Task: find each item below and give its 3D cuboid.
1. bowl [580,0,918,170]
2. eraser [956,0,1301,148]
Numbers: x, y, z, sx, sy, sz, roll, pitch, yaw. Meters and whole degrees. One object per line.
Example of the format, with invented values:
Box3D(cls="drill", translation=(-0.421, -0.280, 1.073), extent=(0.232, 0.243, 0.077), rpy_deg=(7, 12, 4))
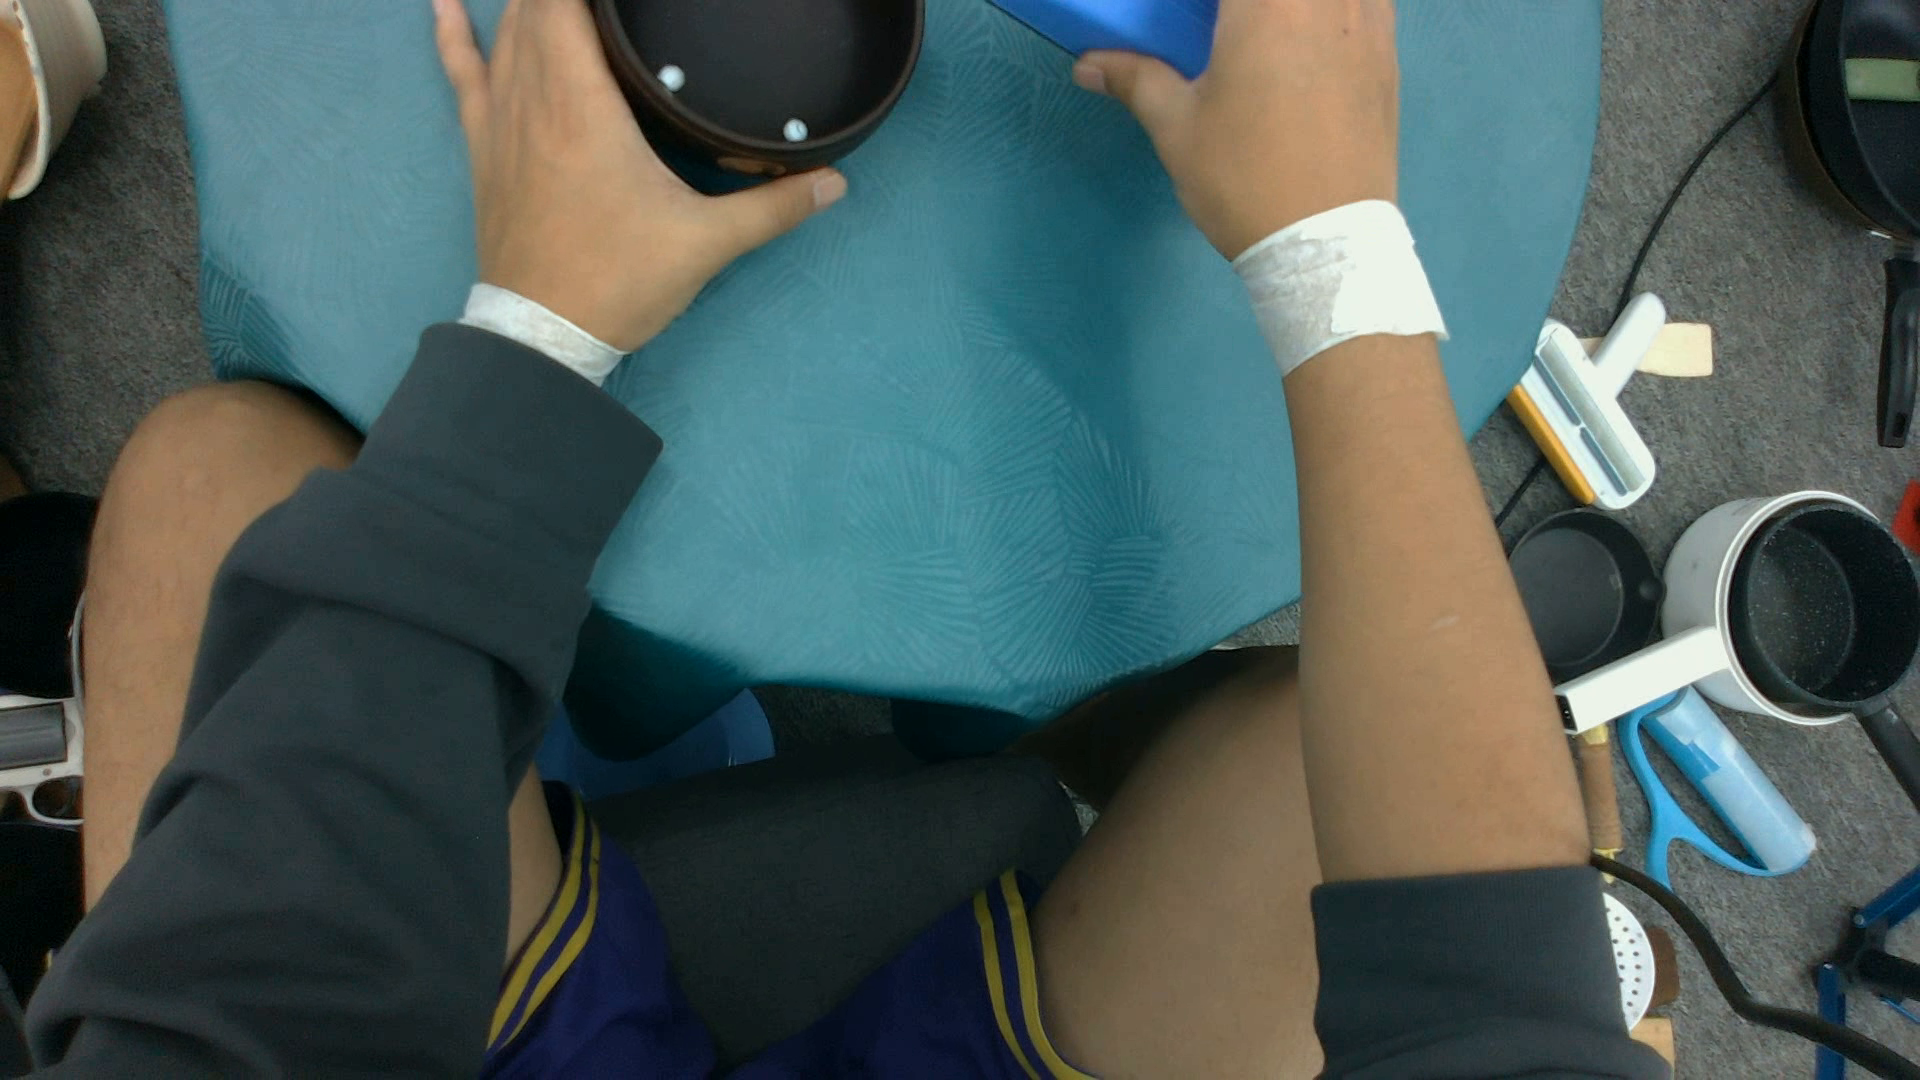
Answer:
Box3D(cls="bowl", translation=(-0.080, -0.193, 0.505), extent=(0.118, 0.069, 0.118), rpy_deg=(1, 88, -22))
Box3D(cls="eraser", translation=(0.069, -0.199, 0.513), extent=(0.162, 0.047, 0.054), rpy_deg=(14, 88, -39))
